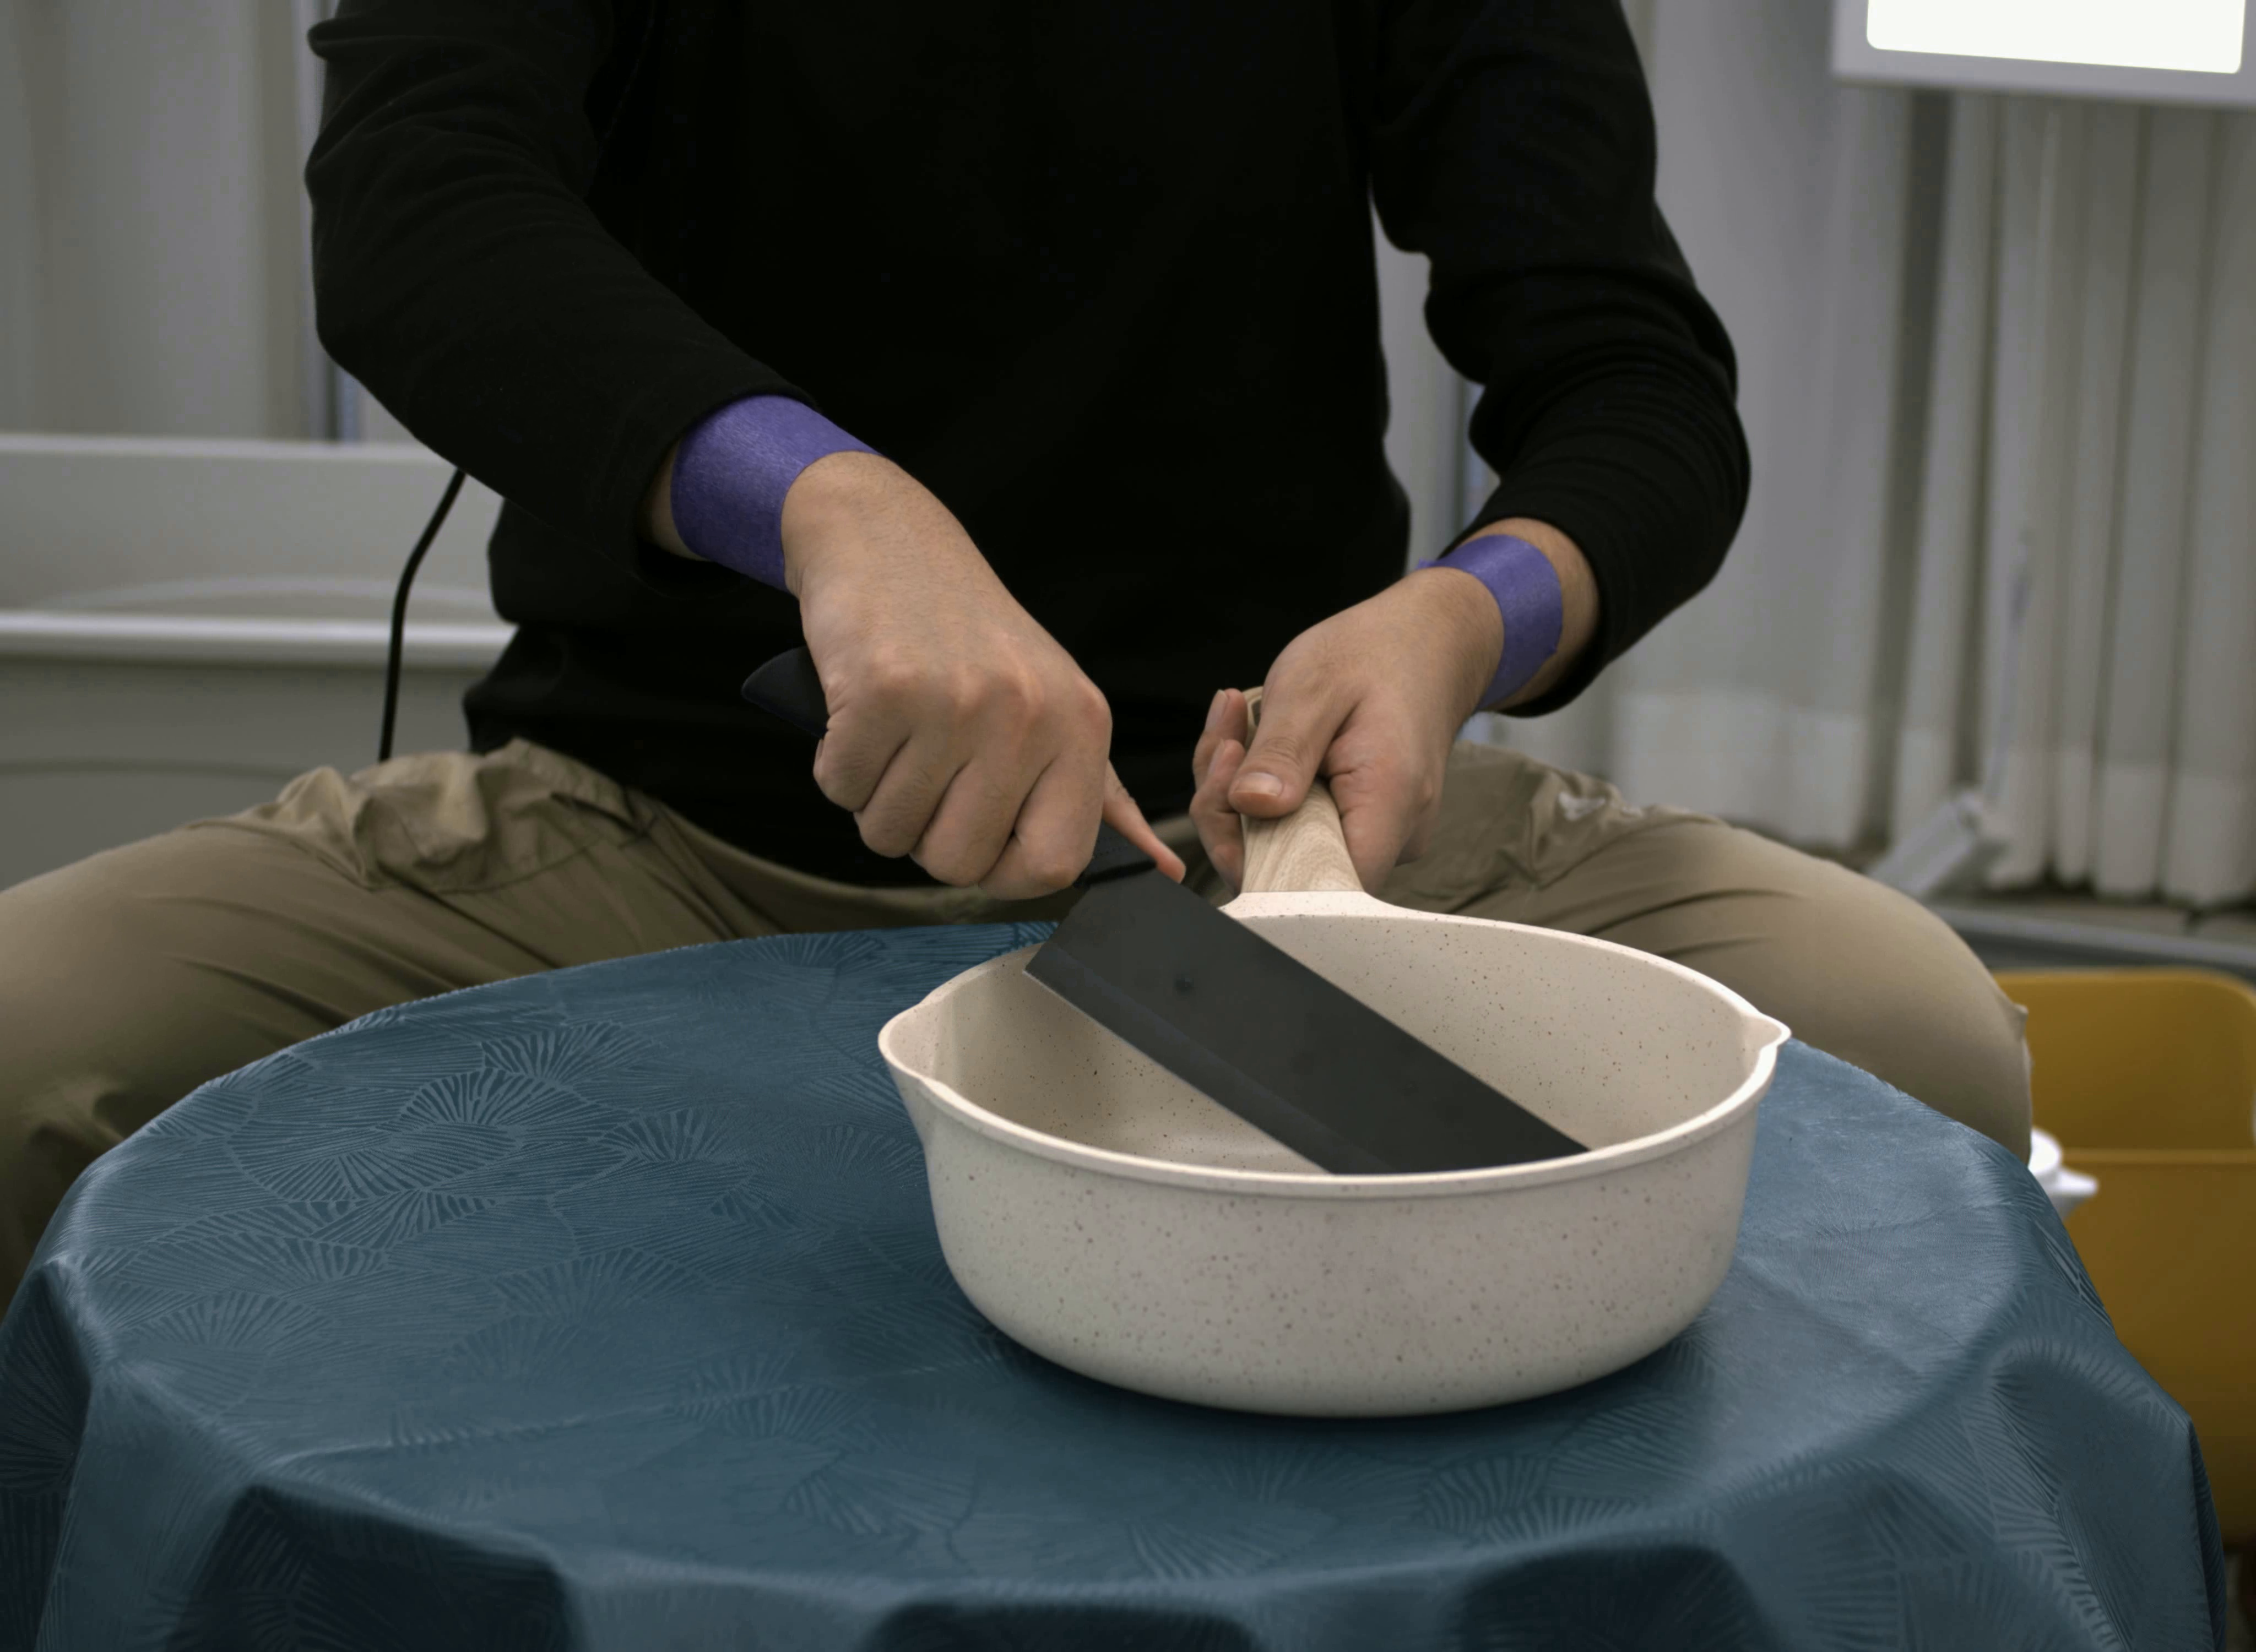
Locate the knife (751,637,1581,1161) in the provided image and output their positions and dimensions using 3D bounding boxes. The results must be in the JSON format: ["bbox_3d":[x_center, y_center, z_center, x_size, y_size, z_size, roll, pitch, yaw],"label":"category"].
[{"bbox_3d":[0.013,0.037,1.564,0.300,0.021,0.081,36,45,9],"label":"knife"}]

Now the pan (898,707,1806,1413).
[{"bbox_3d":[0.060,0.066,1.607,0.263,0.103,0.432,-2,16,-3],"label":"pan"}]
